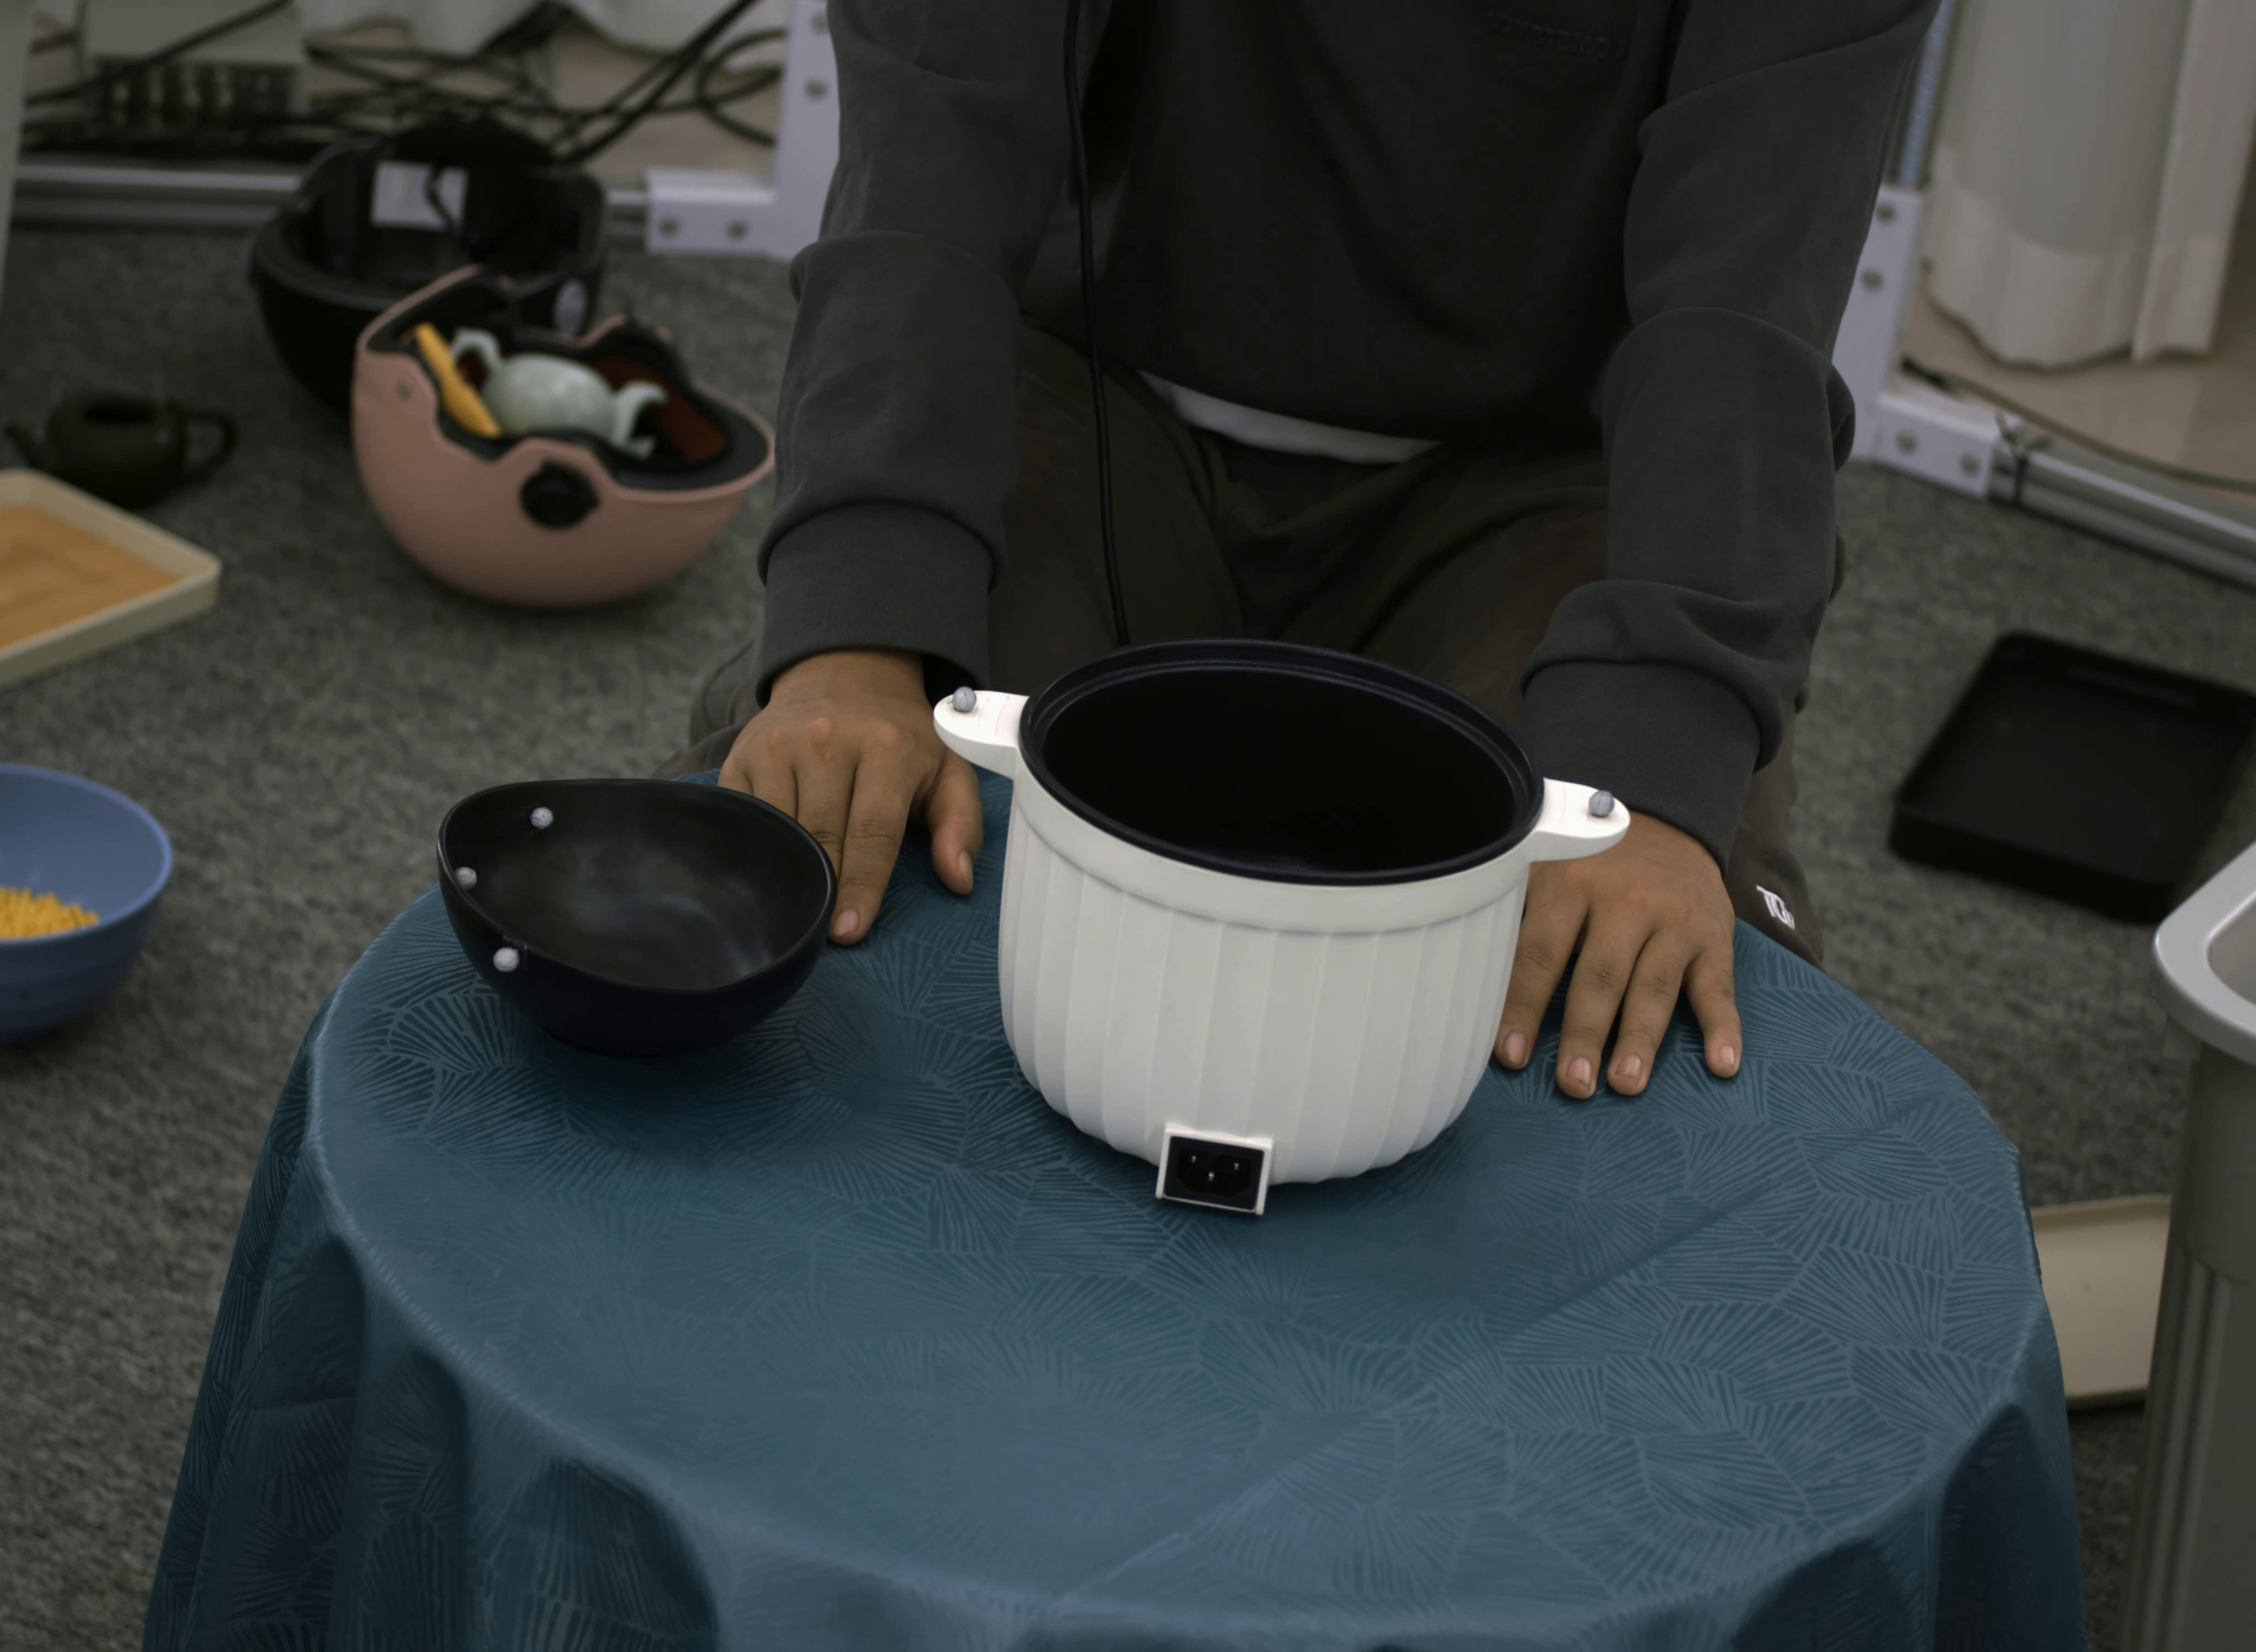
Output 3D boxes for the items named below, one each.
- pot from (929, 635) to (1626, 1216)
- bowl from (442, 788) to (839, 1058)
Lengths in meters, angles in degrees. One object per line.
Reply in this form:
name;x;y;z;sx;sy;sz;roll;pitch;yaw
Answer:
pot;0.043;0.031;1.847;0.240;0.142;0.191;10;30;2
bowl;-0.173;0.038;1.863;0.136;0.066;0.172;-2;26;-17
